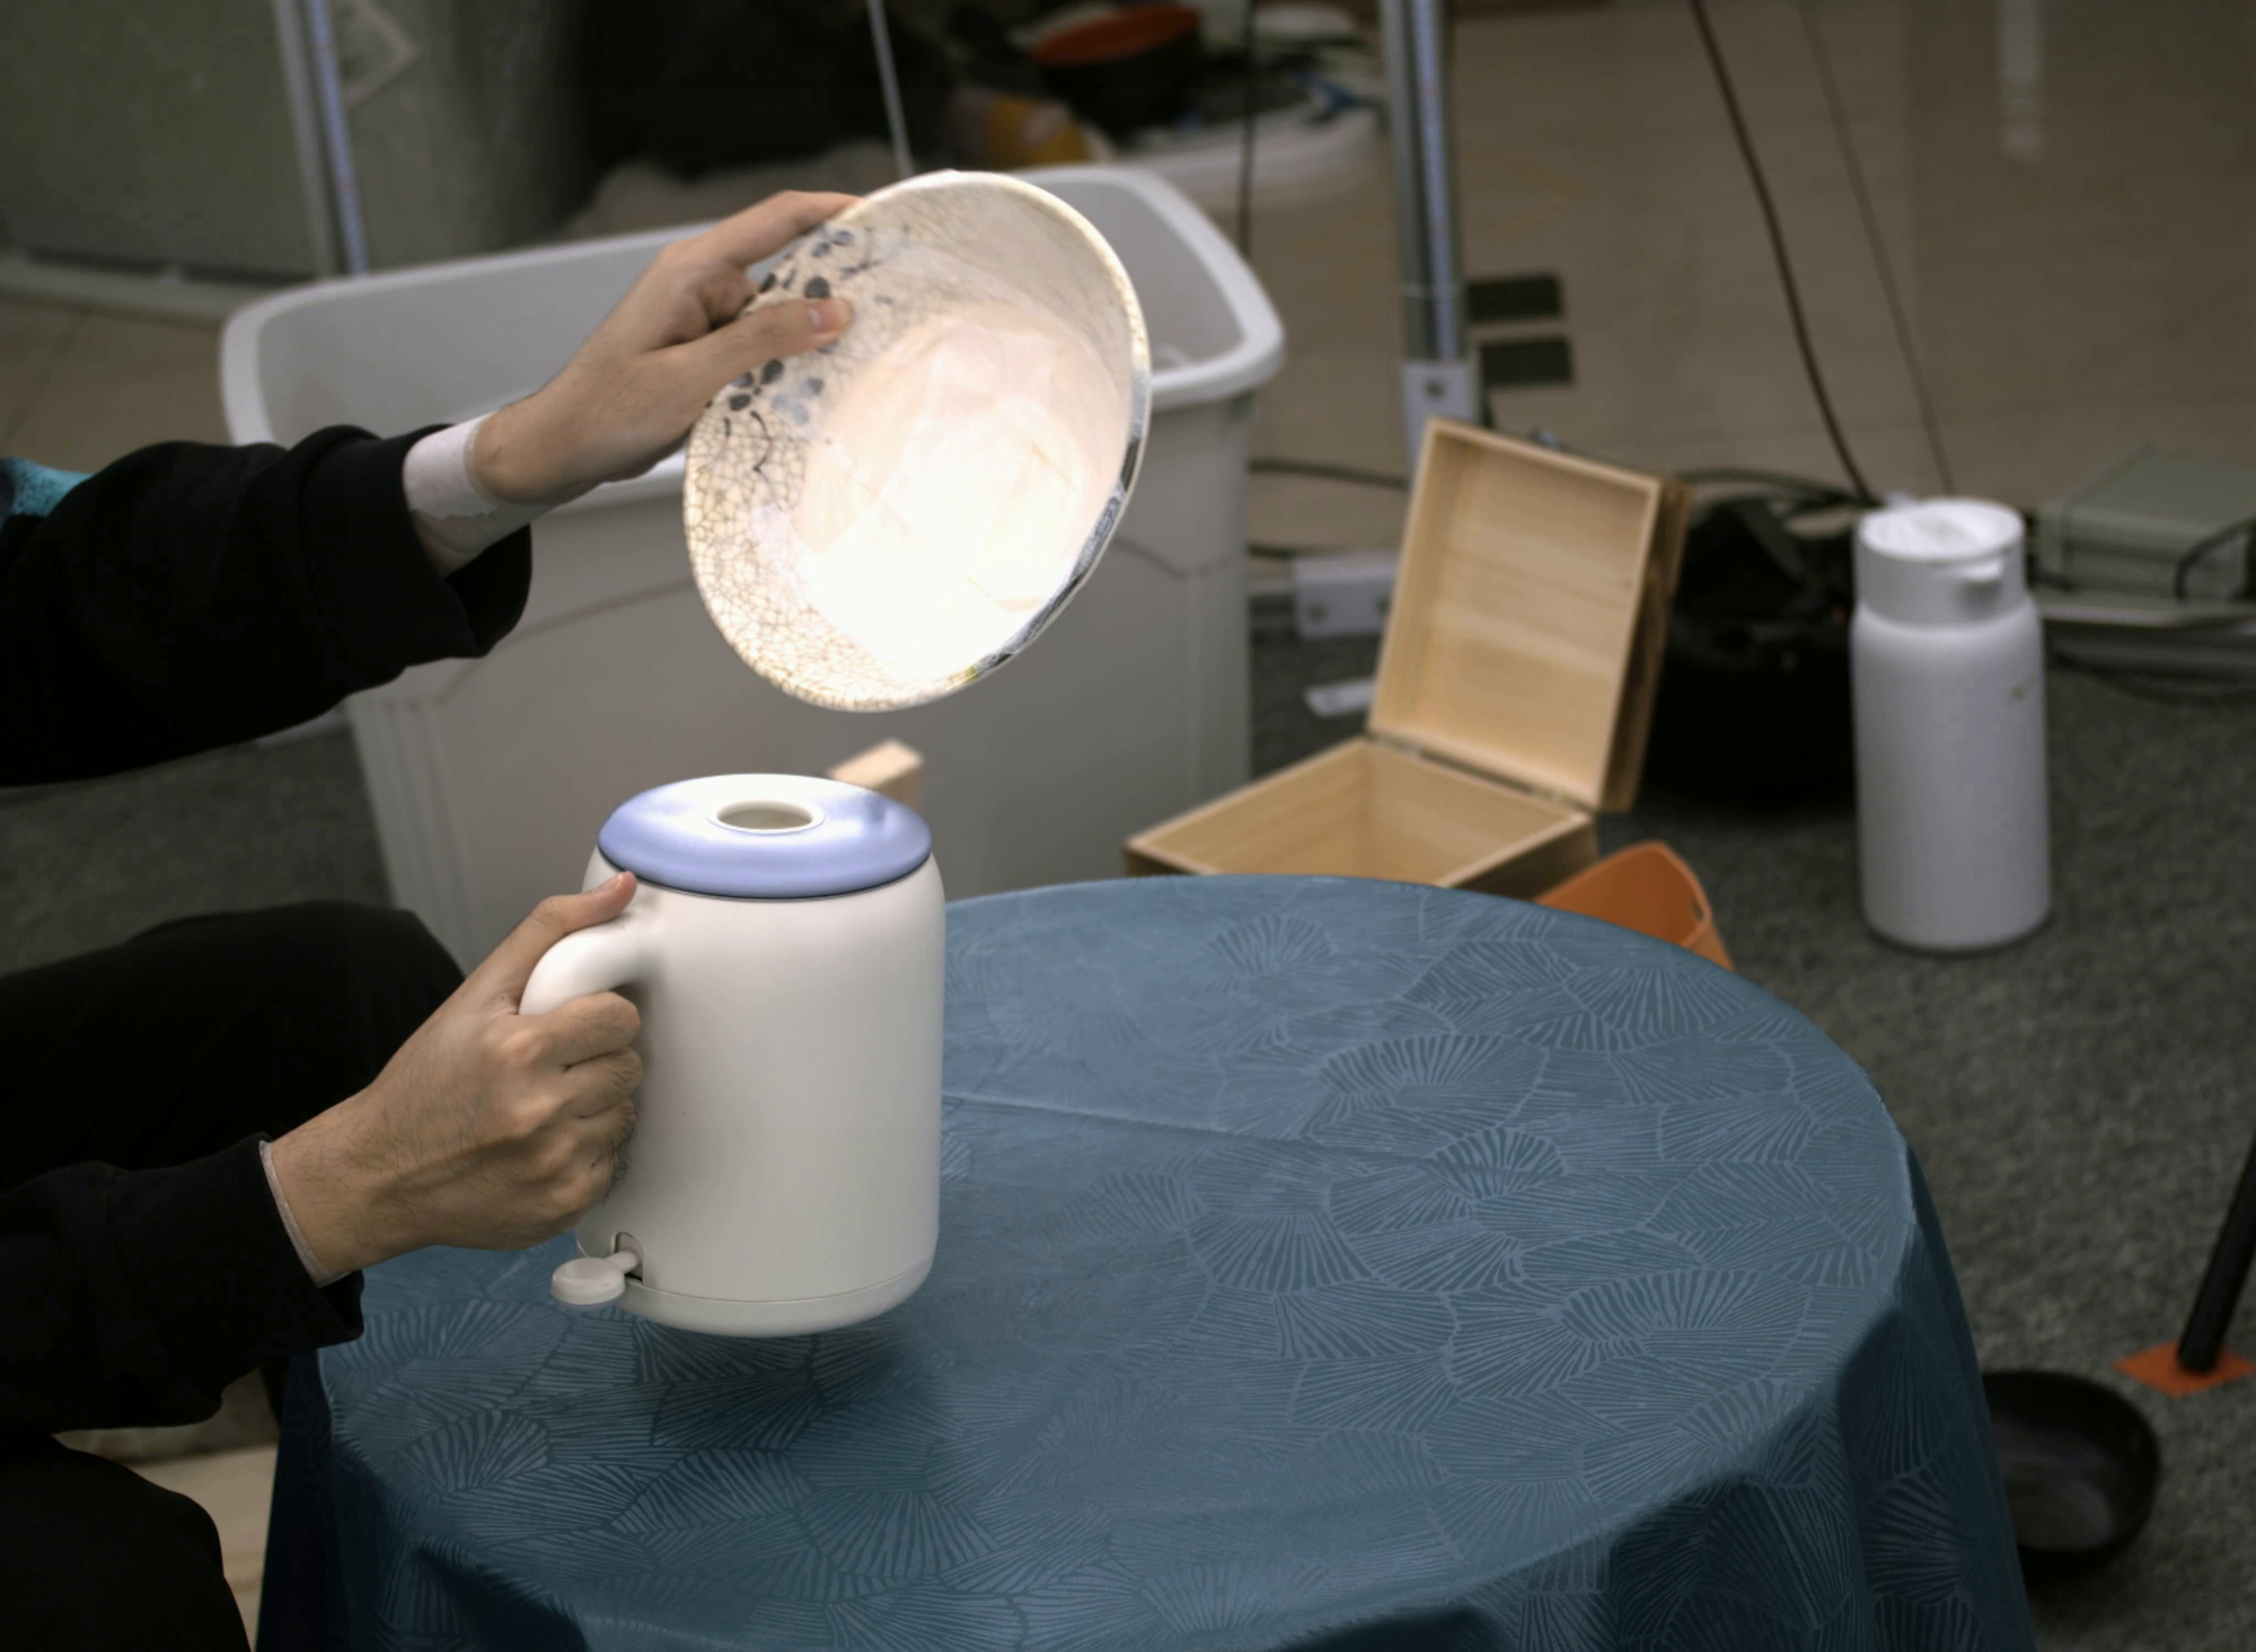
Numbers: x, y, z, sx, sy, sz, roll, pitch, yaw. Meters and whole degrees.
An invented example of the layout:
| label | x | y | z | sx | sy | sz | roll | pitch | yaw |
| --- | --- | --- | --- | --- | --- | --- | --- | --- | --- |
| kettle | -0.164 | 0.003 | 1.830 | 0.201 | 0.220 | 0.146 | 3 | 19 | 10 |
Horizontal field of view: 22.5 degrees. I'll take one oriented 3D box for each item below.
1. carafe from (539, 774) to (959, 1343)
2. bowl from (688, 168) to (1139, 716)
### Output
| label | x | y | z | sx | sy | sz | roll | pitch | yaw |
| --- | --- | --- | --- | --- | --- | --- | --- | --- | --- |
| carafe | -0.142 | 0.089 | 2.005 | 0.131 | 0.185 | 0.189 | 14 | 26 | 35 |
| bowl | -0.058 | -0.130 | 2.045 | 0.202 | 0.204 | 0.078 | 16 | -2 | 39 |
